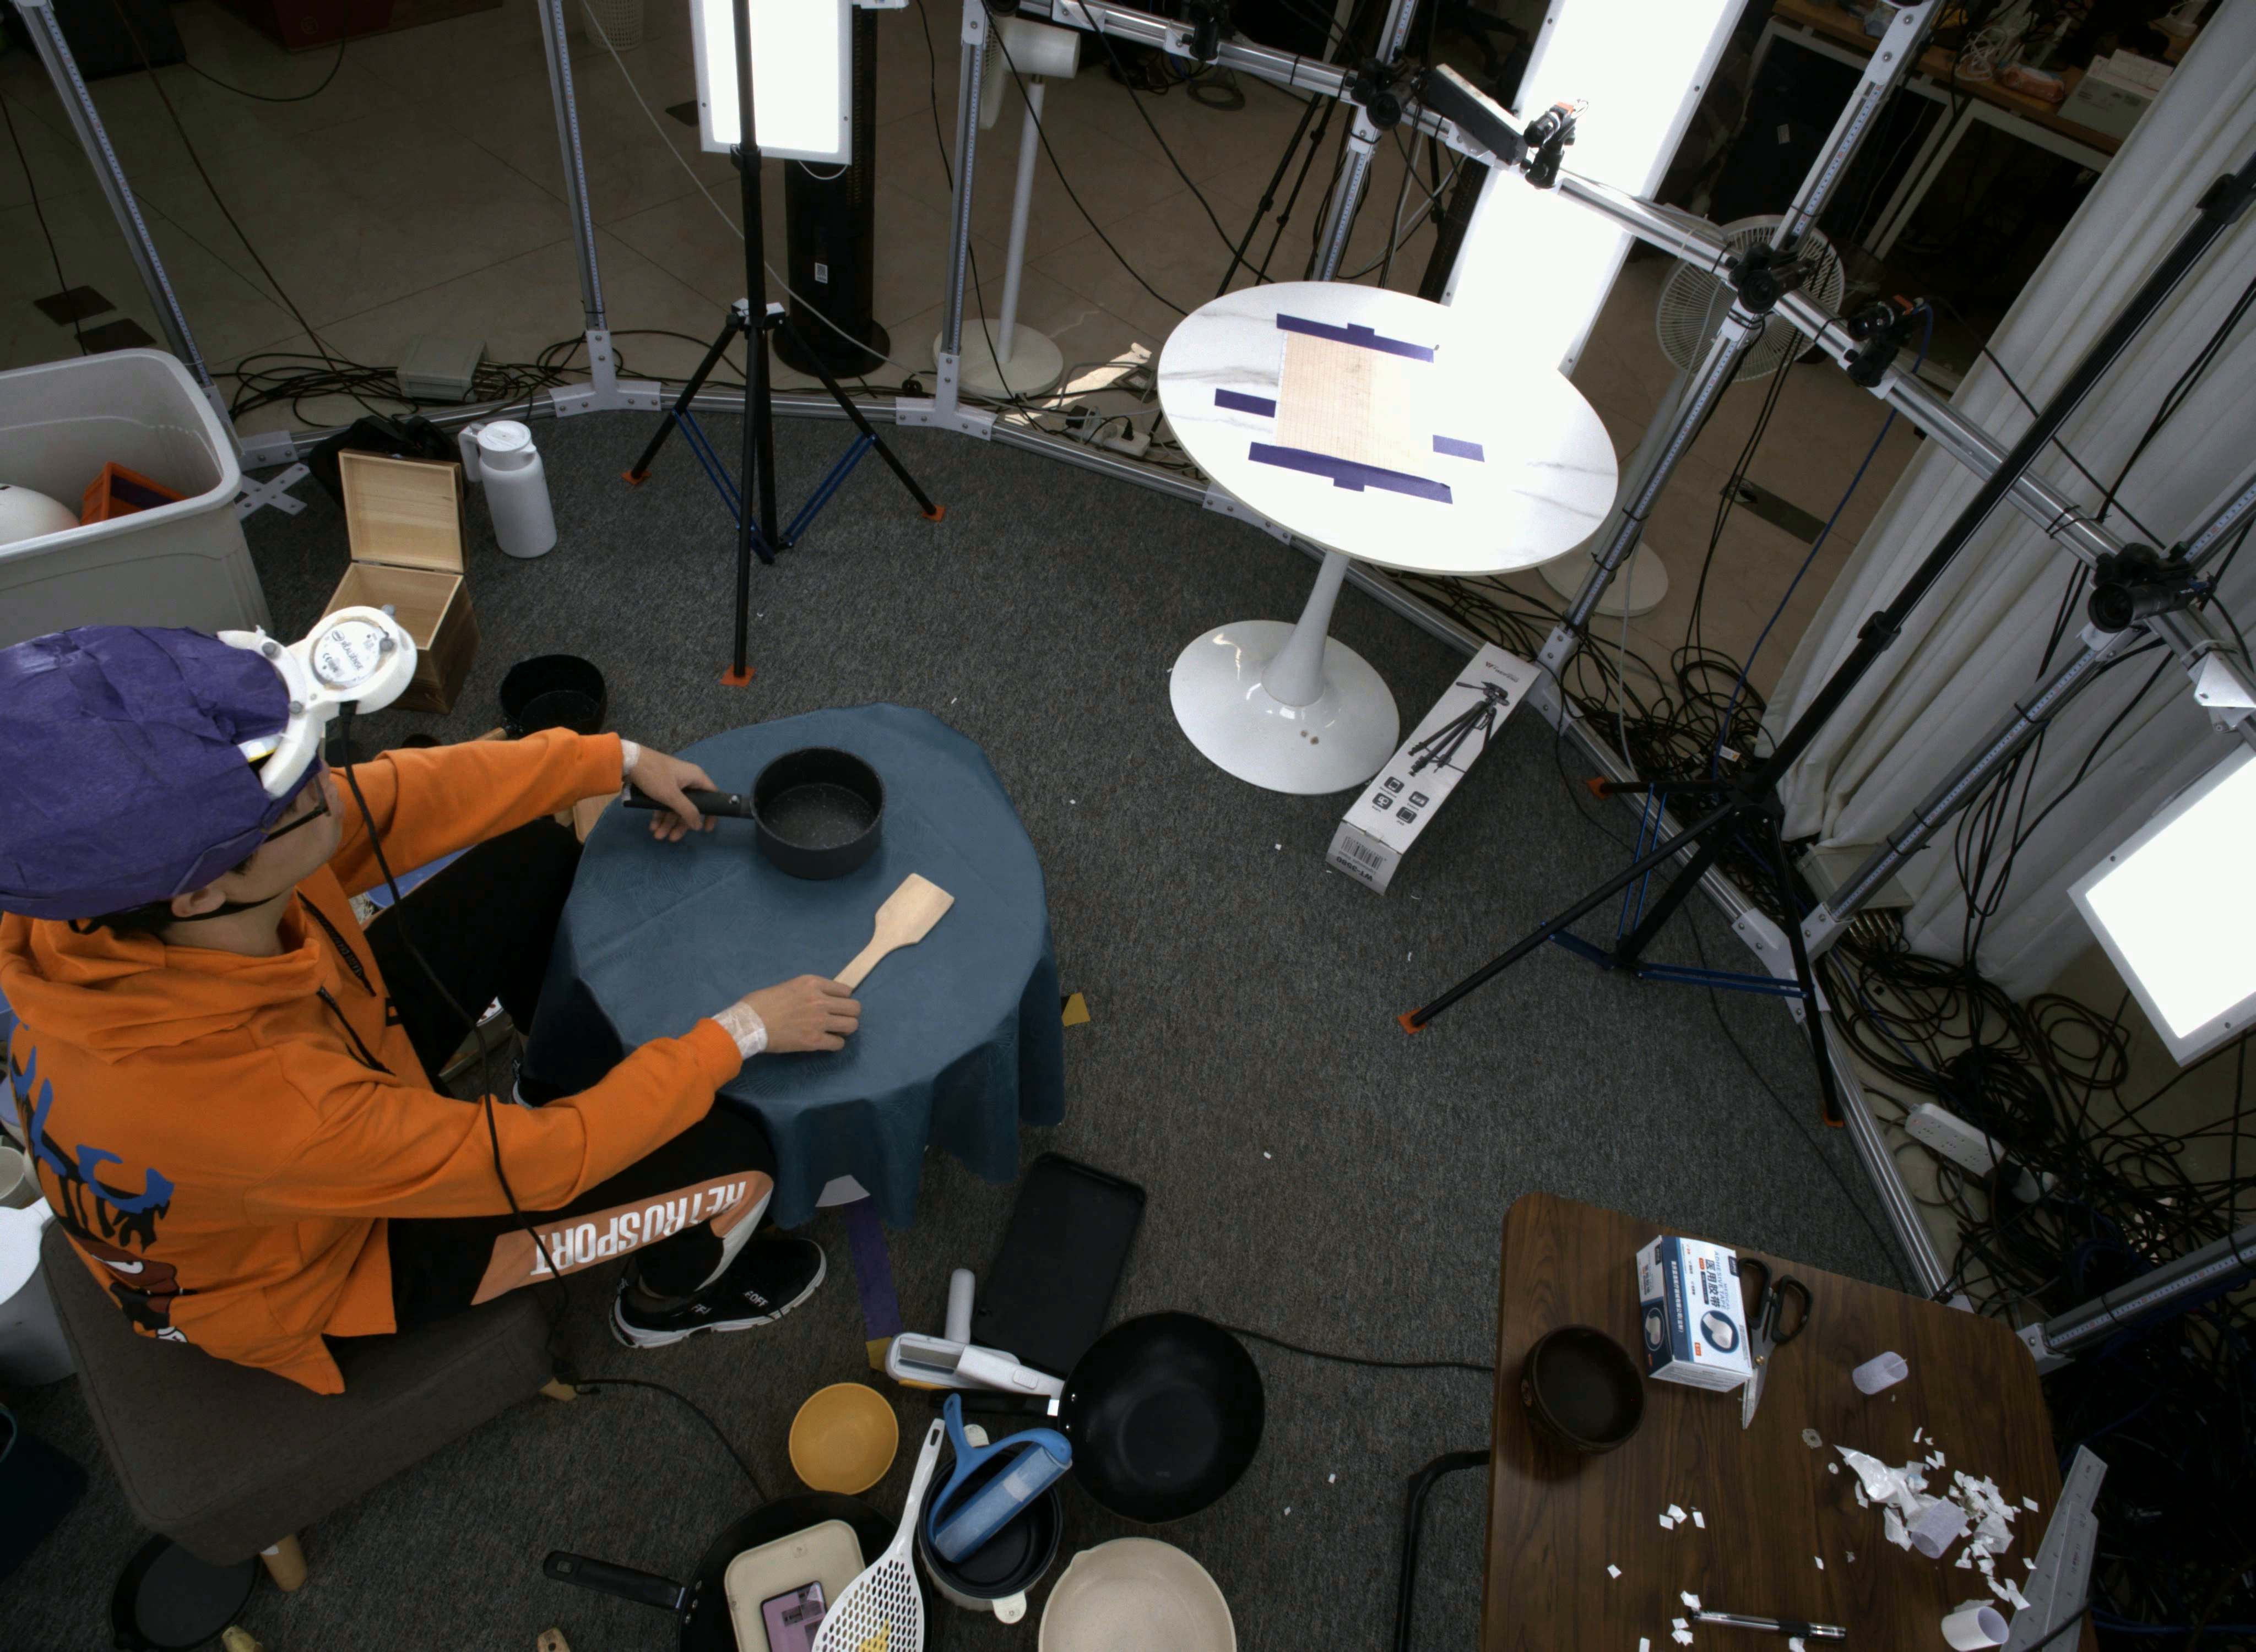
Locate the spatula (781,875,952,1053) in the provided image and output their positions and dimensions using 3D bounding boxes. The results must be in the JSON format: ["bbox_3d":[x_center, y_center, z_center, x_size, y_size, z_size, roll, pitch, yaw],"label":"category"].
[{"bbox_3d":[-0.326,0.169,1.607,0.071,0.011,0.292,34,52,7],"label":"spatula"}]

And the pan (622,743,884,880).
[{"bbox_3d":[-0.480,-0.022,1.661,0.329,0.088,0.168,3,52,-14],"label":"pan"}]
